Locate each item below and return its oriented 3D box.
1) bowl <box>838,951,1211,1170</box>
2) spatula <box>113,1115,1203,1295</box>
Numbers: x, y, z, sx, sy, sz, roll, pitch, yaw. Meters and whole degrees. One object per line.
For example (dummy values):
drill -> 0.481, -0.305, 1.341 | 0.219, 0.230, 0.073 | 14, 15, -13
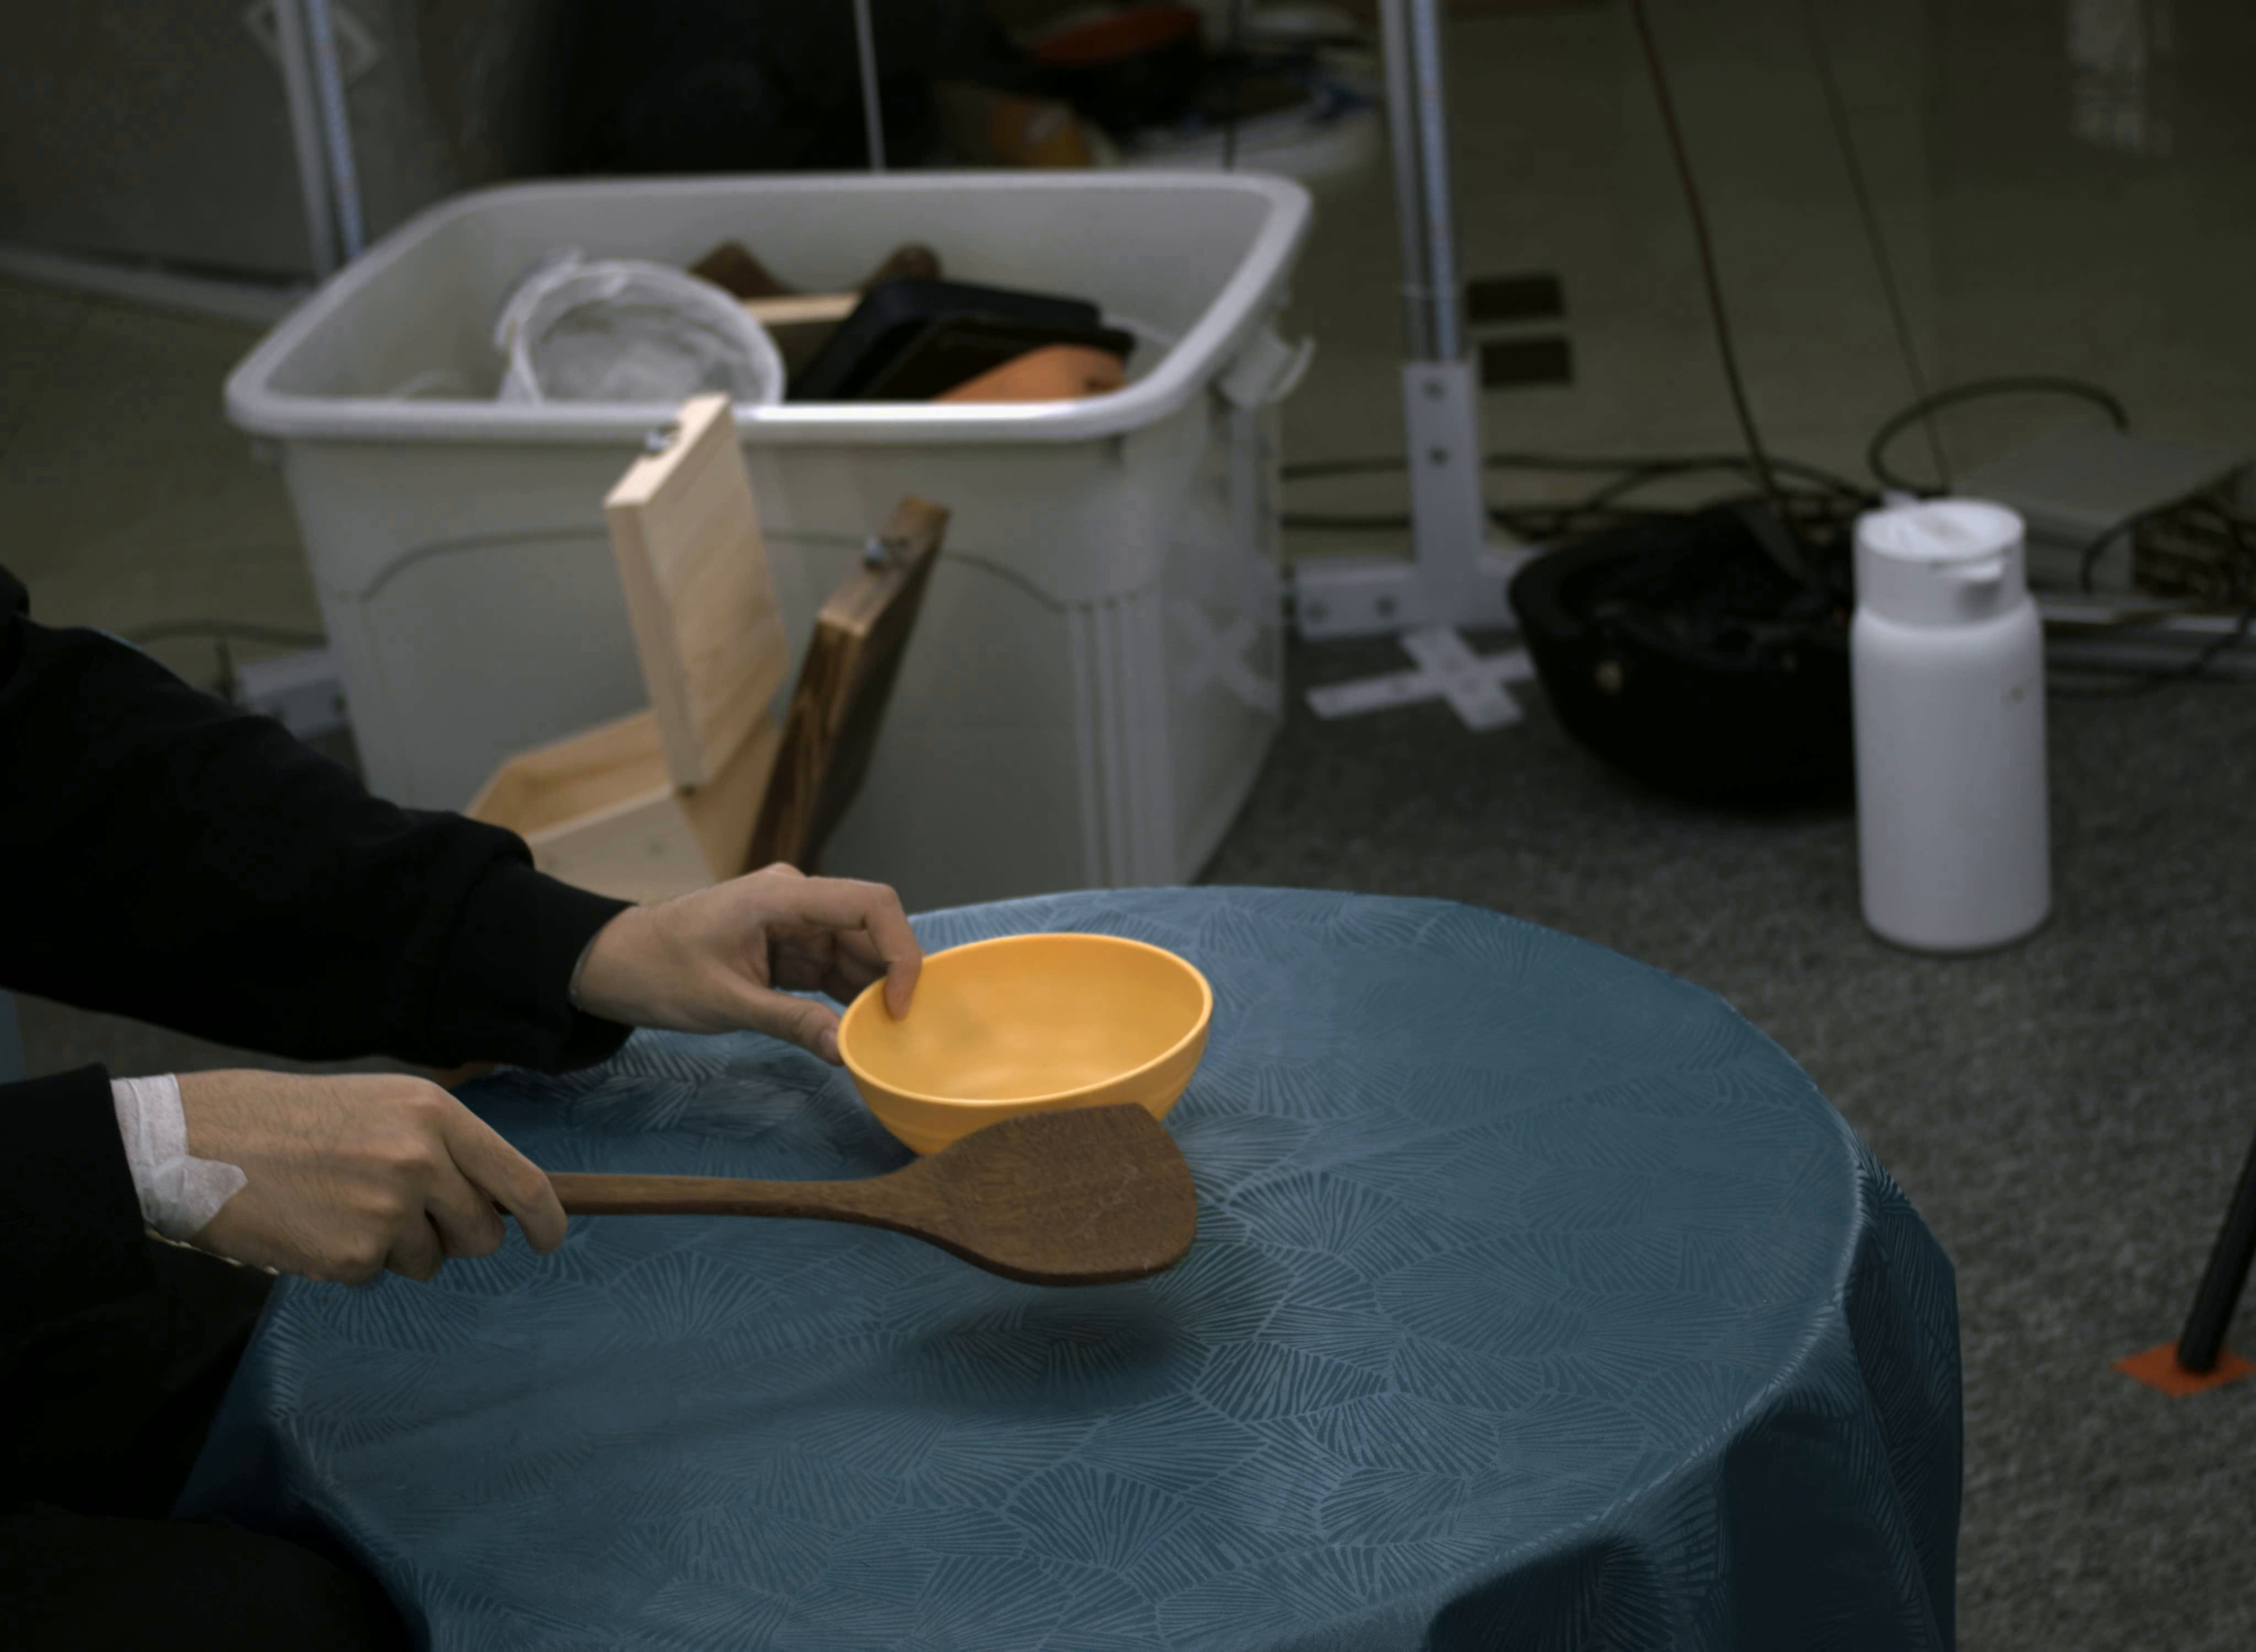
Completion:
bowl -> -0.037, 0.102, 2.176 | 0.145, 0.061, 0.143 | -6, 22, 3
spatula -> -0.164, 0.133, 2.007 | 0.385, 0.016, 0.094 | 1, 37, -12
